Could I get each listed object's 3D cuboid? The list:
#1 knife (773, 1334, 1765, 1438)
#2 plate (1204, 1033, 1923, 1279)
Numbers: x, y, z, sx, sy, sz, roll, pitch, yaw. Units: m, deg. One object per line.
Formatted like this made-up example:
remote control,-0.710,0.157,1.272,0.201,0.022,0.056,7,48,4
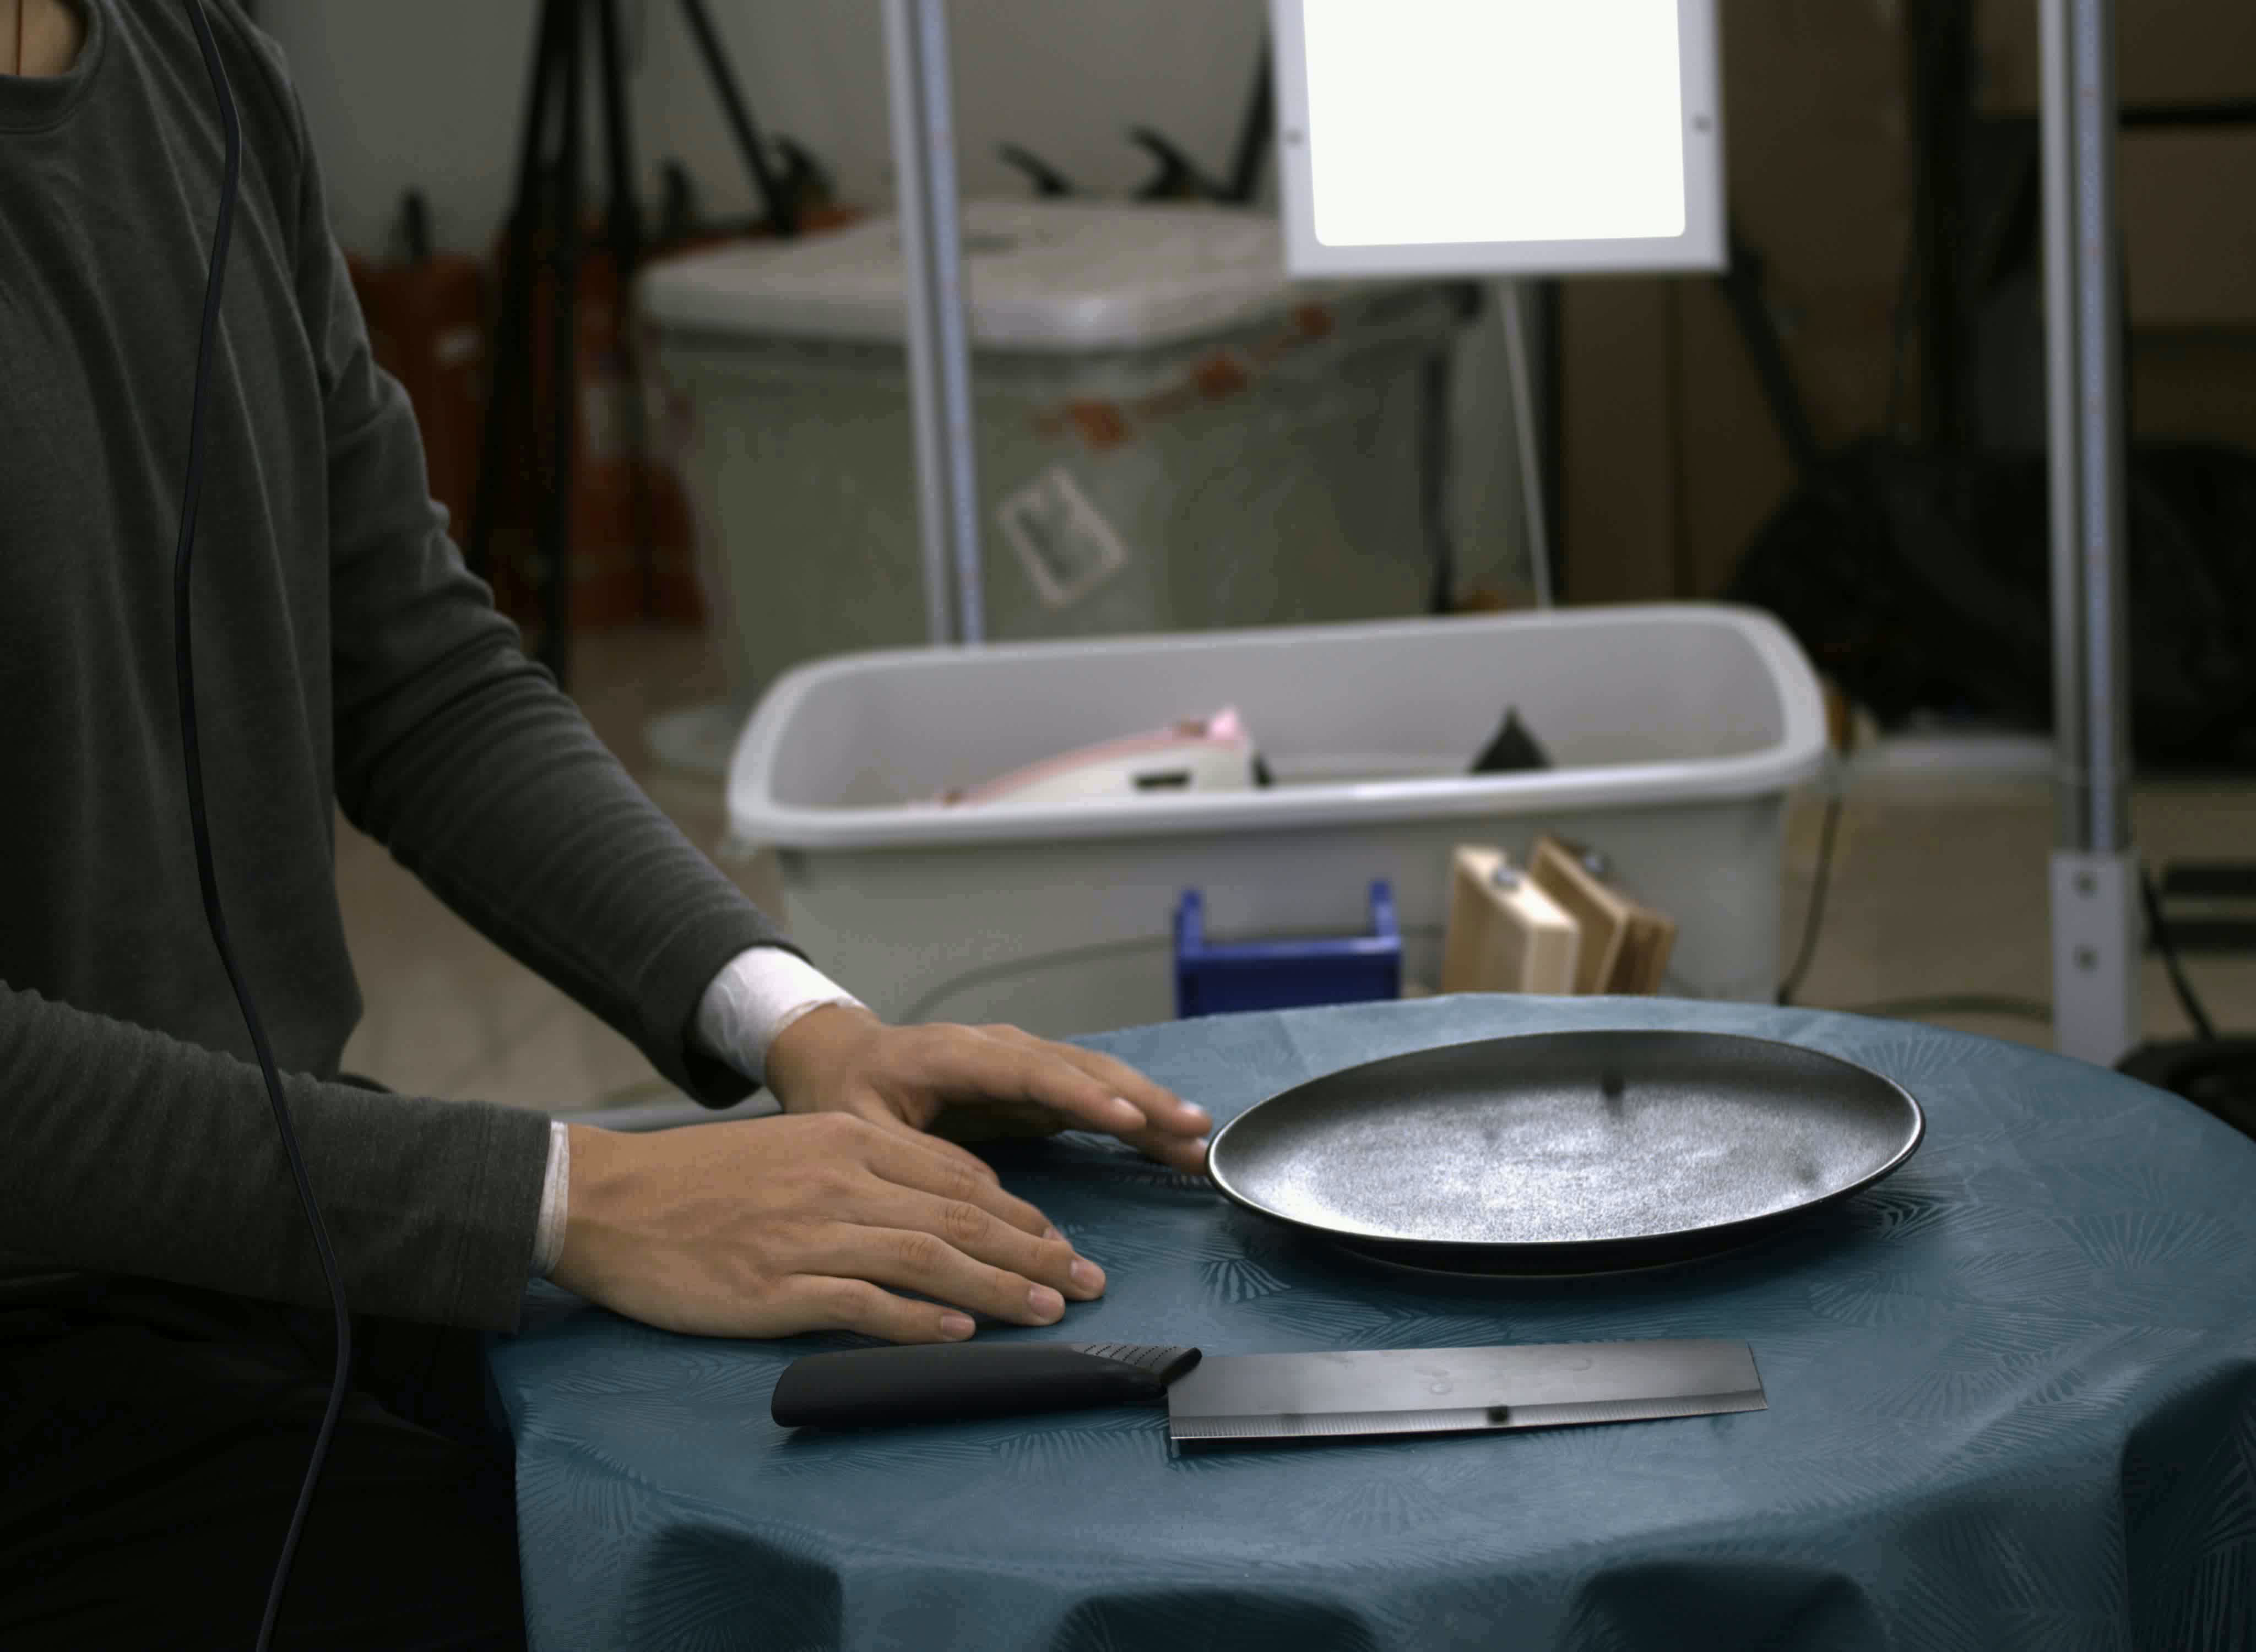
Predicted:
knife,0.043,0.171,1.676,0.303,0.021,0.080,-2,15,7
plate,0.148,0.113,1.855,0.244,0.023,0.244,-5,13,0
